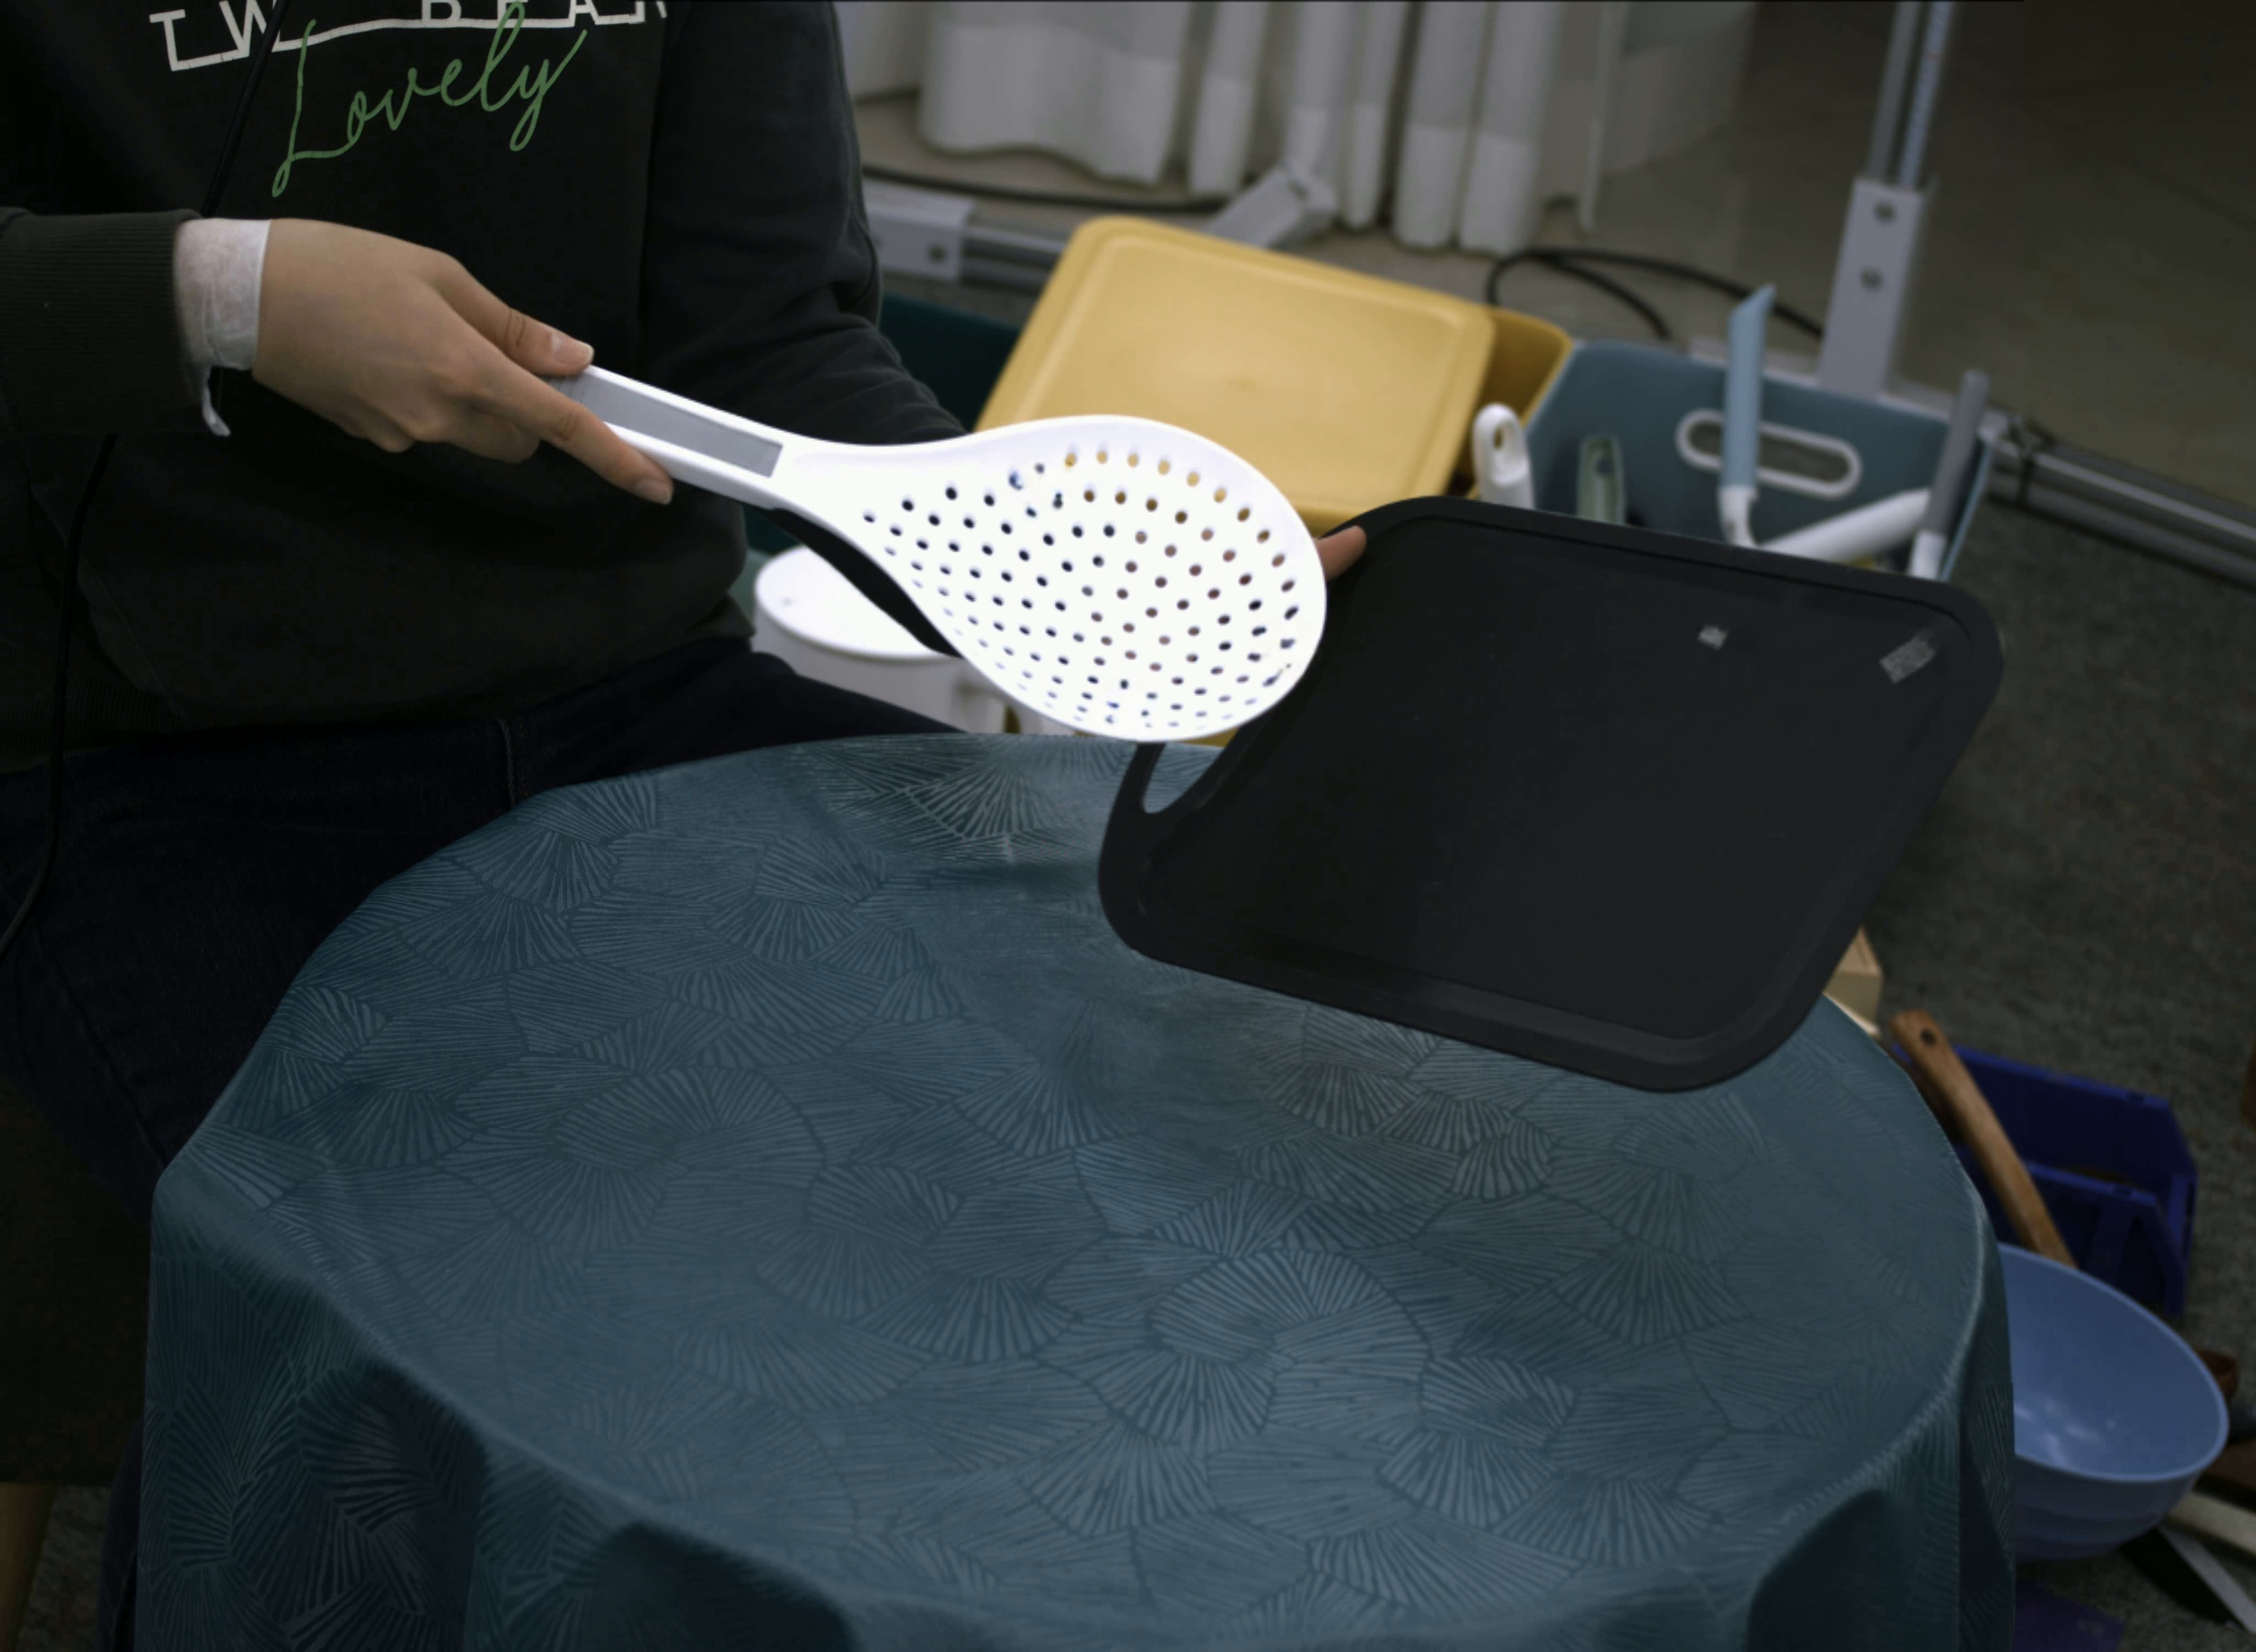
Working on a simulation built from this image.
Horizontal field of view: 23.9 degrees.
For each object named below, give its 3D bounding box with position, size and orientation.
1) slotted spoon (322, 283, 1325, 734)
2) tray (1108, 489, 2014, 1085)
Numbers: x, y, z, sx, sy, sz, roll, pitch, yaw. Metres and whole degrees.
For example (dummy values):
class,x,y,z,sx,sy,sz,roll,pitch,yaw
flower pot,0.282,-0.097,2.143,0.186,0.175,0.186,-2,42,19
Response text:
class,x,y,z,sx,sy,sz,roll,pitch,yaw
slotted spoon,-0.104,-0.116,1.791,0.349,0.045,0.137,21,51,-2
tray,0.133,-0.021,1.804,0.327,0.010,0.211,13,63,43
